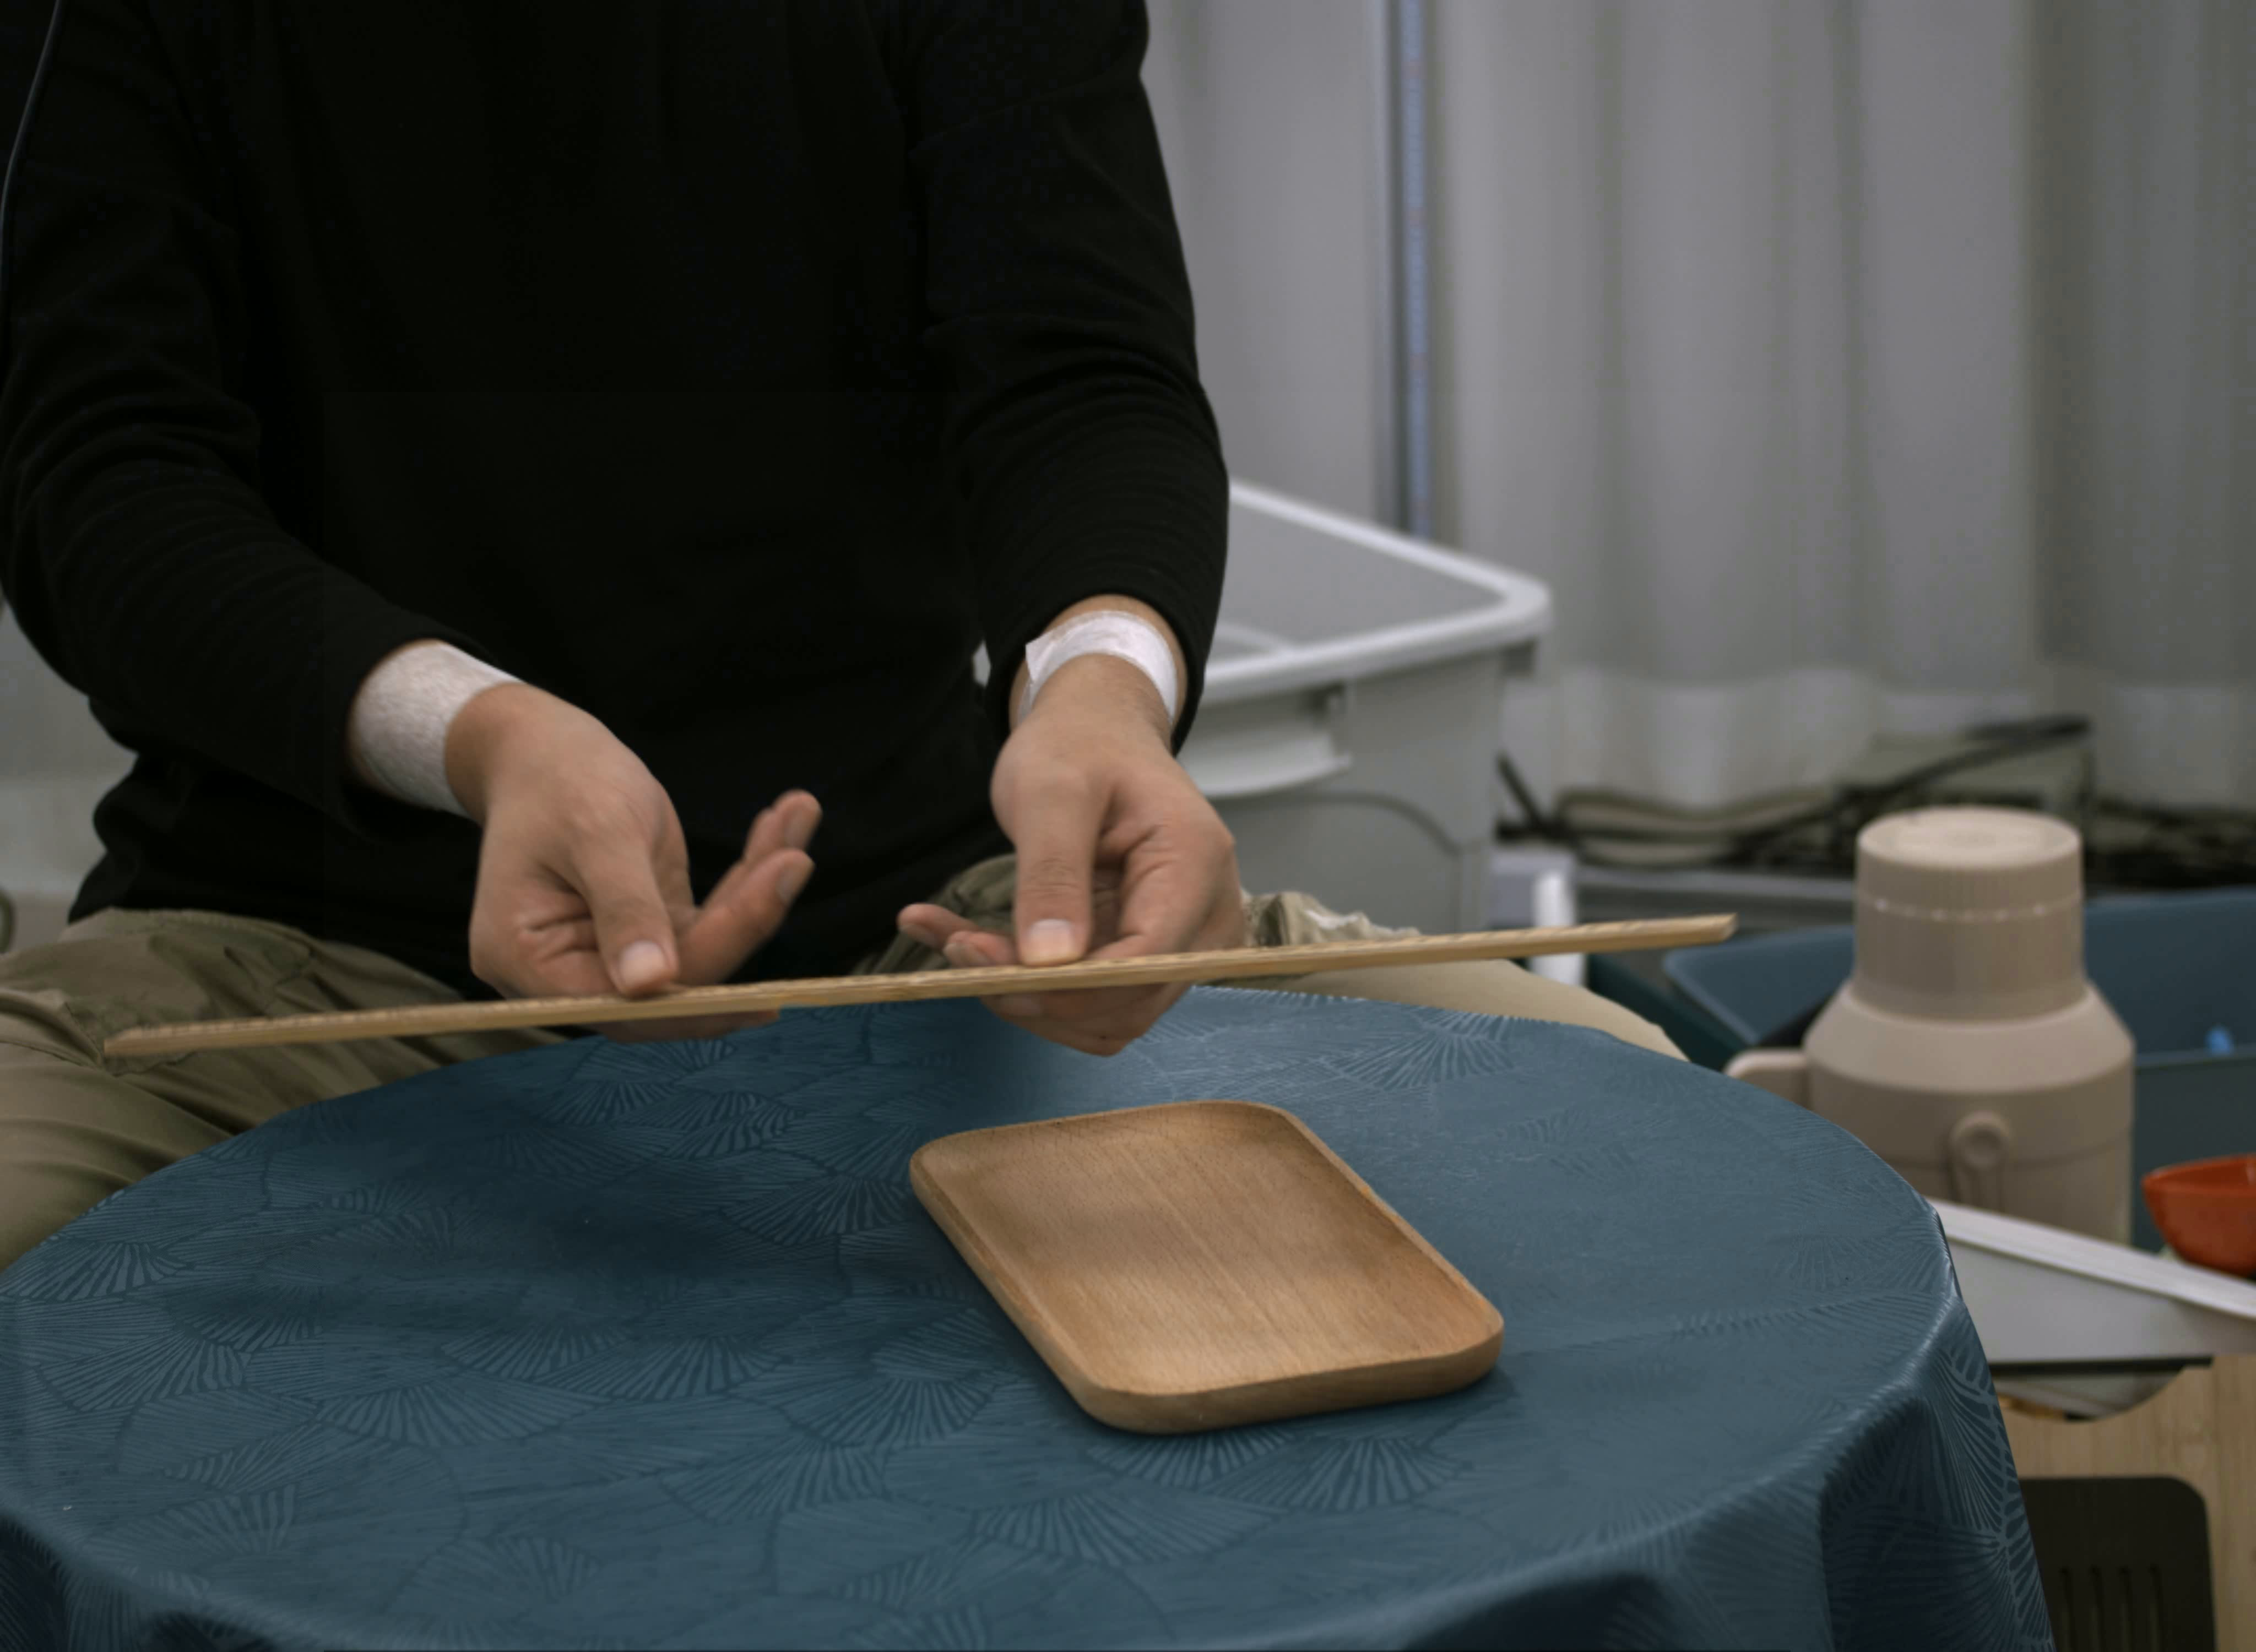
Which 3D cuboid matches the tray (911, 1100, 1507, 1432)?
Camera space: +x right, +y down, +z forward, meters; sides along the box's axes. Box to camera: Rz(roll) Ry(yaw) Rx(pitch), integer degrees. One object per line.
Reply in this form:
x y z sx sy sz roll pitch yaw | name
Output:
0.020 0.128 1.628 0.130 0.023 0.252 -4 14 -14 | tray

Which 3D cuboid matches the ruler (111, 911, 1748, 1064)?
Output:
-0.066 0.048 1.614 0.500 0.006 0.027 -5 4 14 | ruler
